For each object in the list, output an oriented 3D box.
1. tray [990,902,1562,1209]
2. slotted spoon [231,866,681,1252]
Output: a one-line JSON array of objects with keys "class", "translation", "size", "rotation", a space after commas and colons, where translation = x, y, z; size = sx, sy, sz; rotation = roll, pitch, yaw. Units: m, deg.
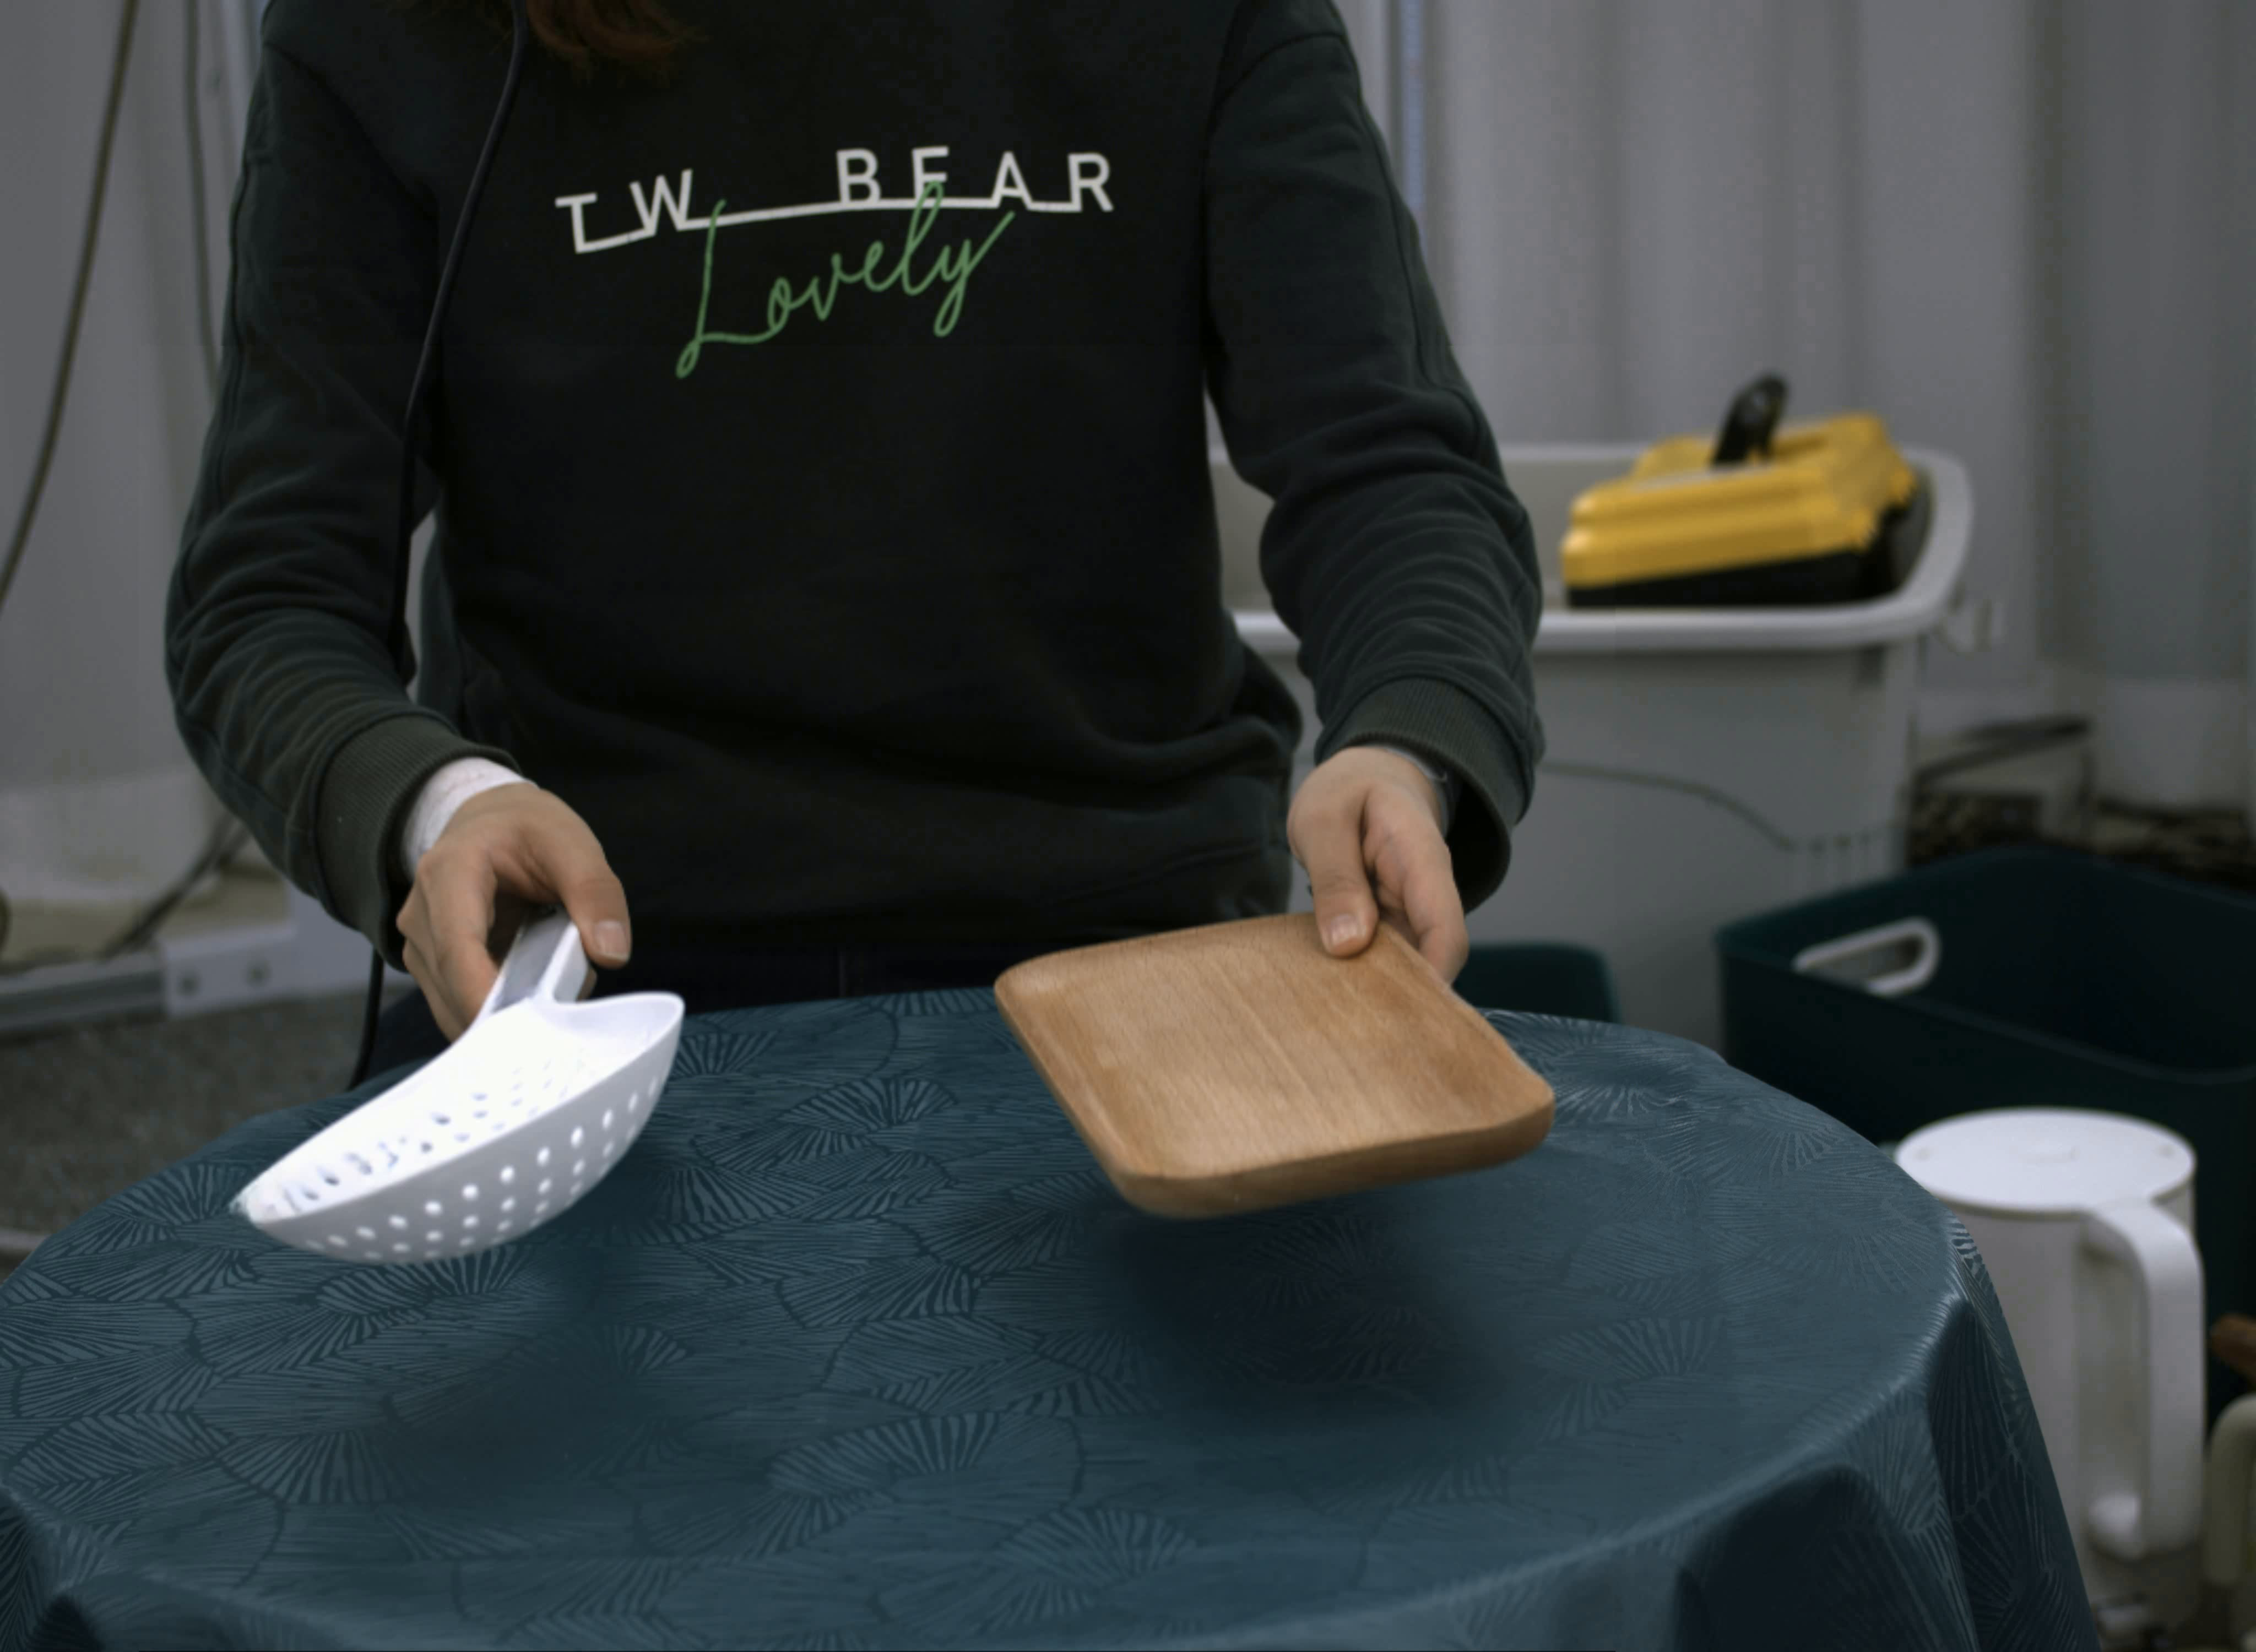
[{"class": "tray", "translation": [0.039, 0.065, 1.608], "size": [0.130, 0.023, 0.252], "rotation": [-7, 13, -9]}, {"class": "slotted spoon", "translation": [-0.183, 0.059, 1.625], "size": [0.135, 0.045, 0.352], "rotation": [-22, 15, 5]}]
